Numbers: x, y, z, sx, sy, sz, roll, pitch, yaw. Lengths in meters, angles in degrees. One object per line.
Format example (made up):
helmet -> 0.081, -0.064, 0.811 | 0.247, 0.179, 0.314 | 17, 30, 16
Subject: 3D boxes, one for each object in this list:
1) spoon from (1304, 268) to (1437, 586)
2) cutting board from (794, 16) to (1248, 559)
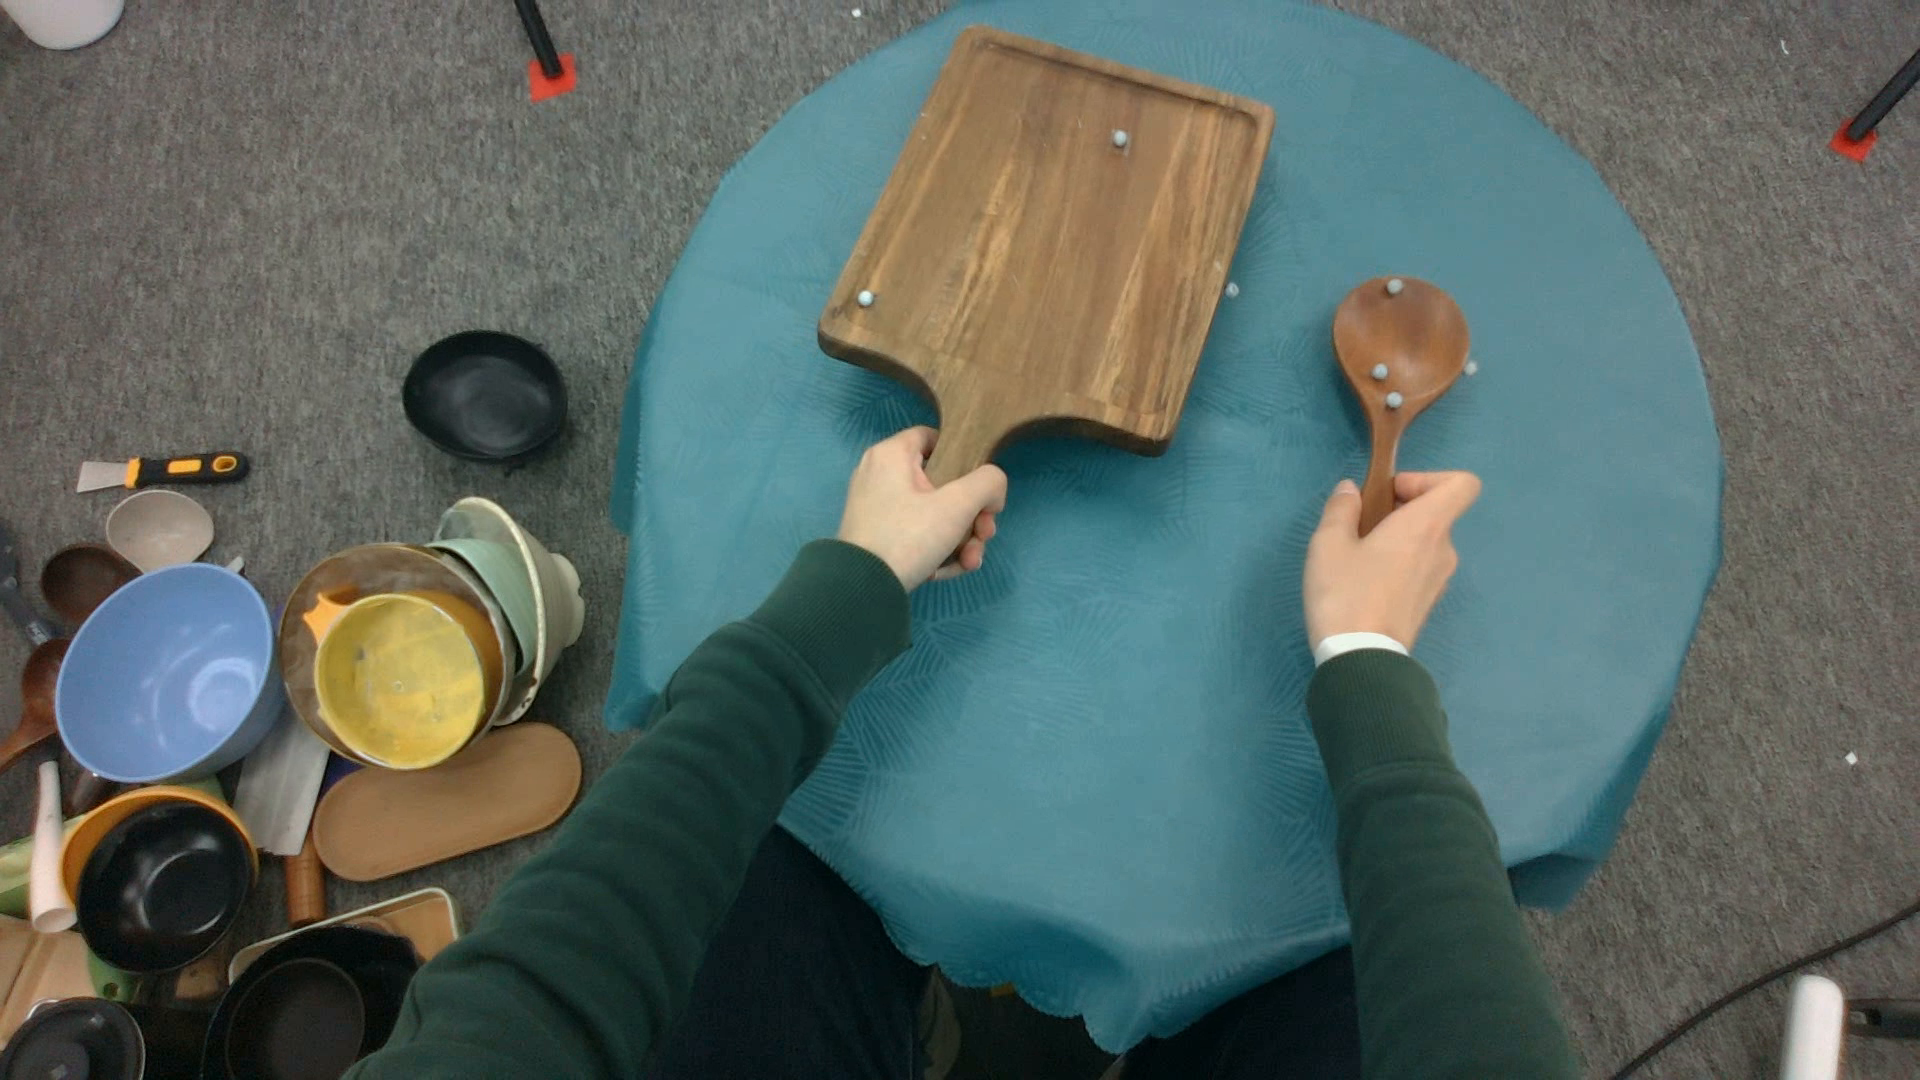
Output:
spoon -> 0.212, -0.065, 0.732 | 0.075, 0.017, 0.217 | 15, 56, 3
cutting board -> 0.026, -0.142, 0.749 | 0.201, 0.023, 0.353 | 18, 62, 5
